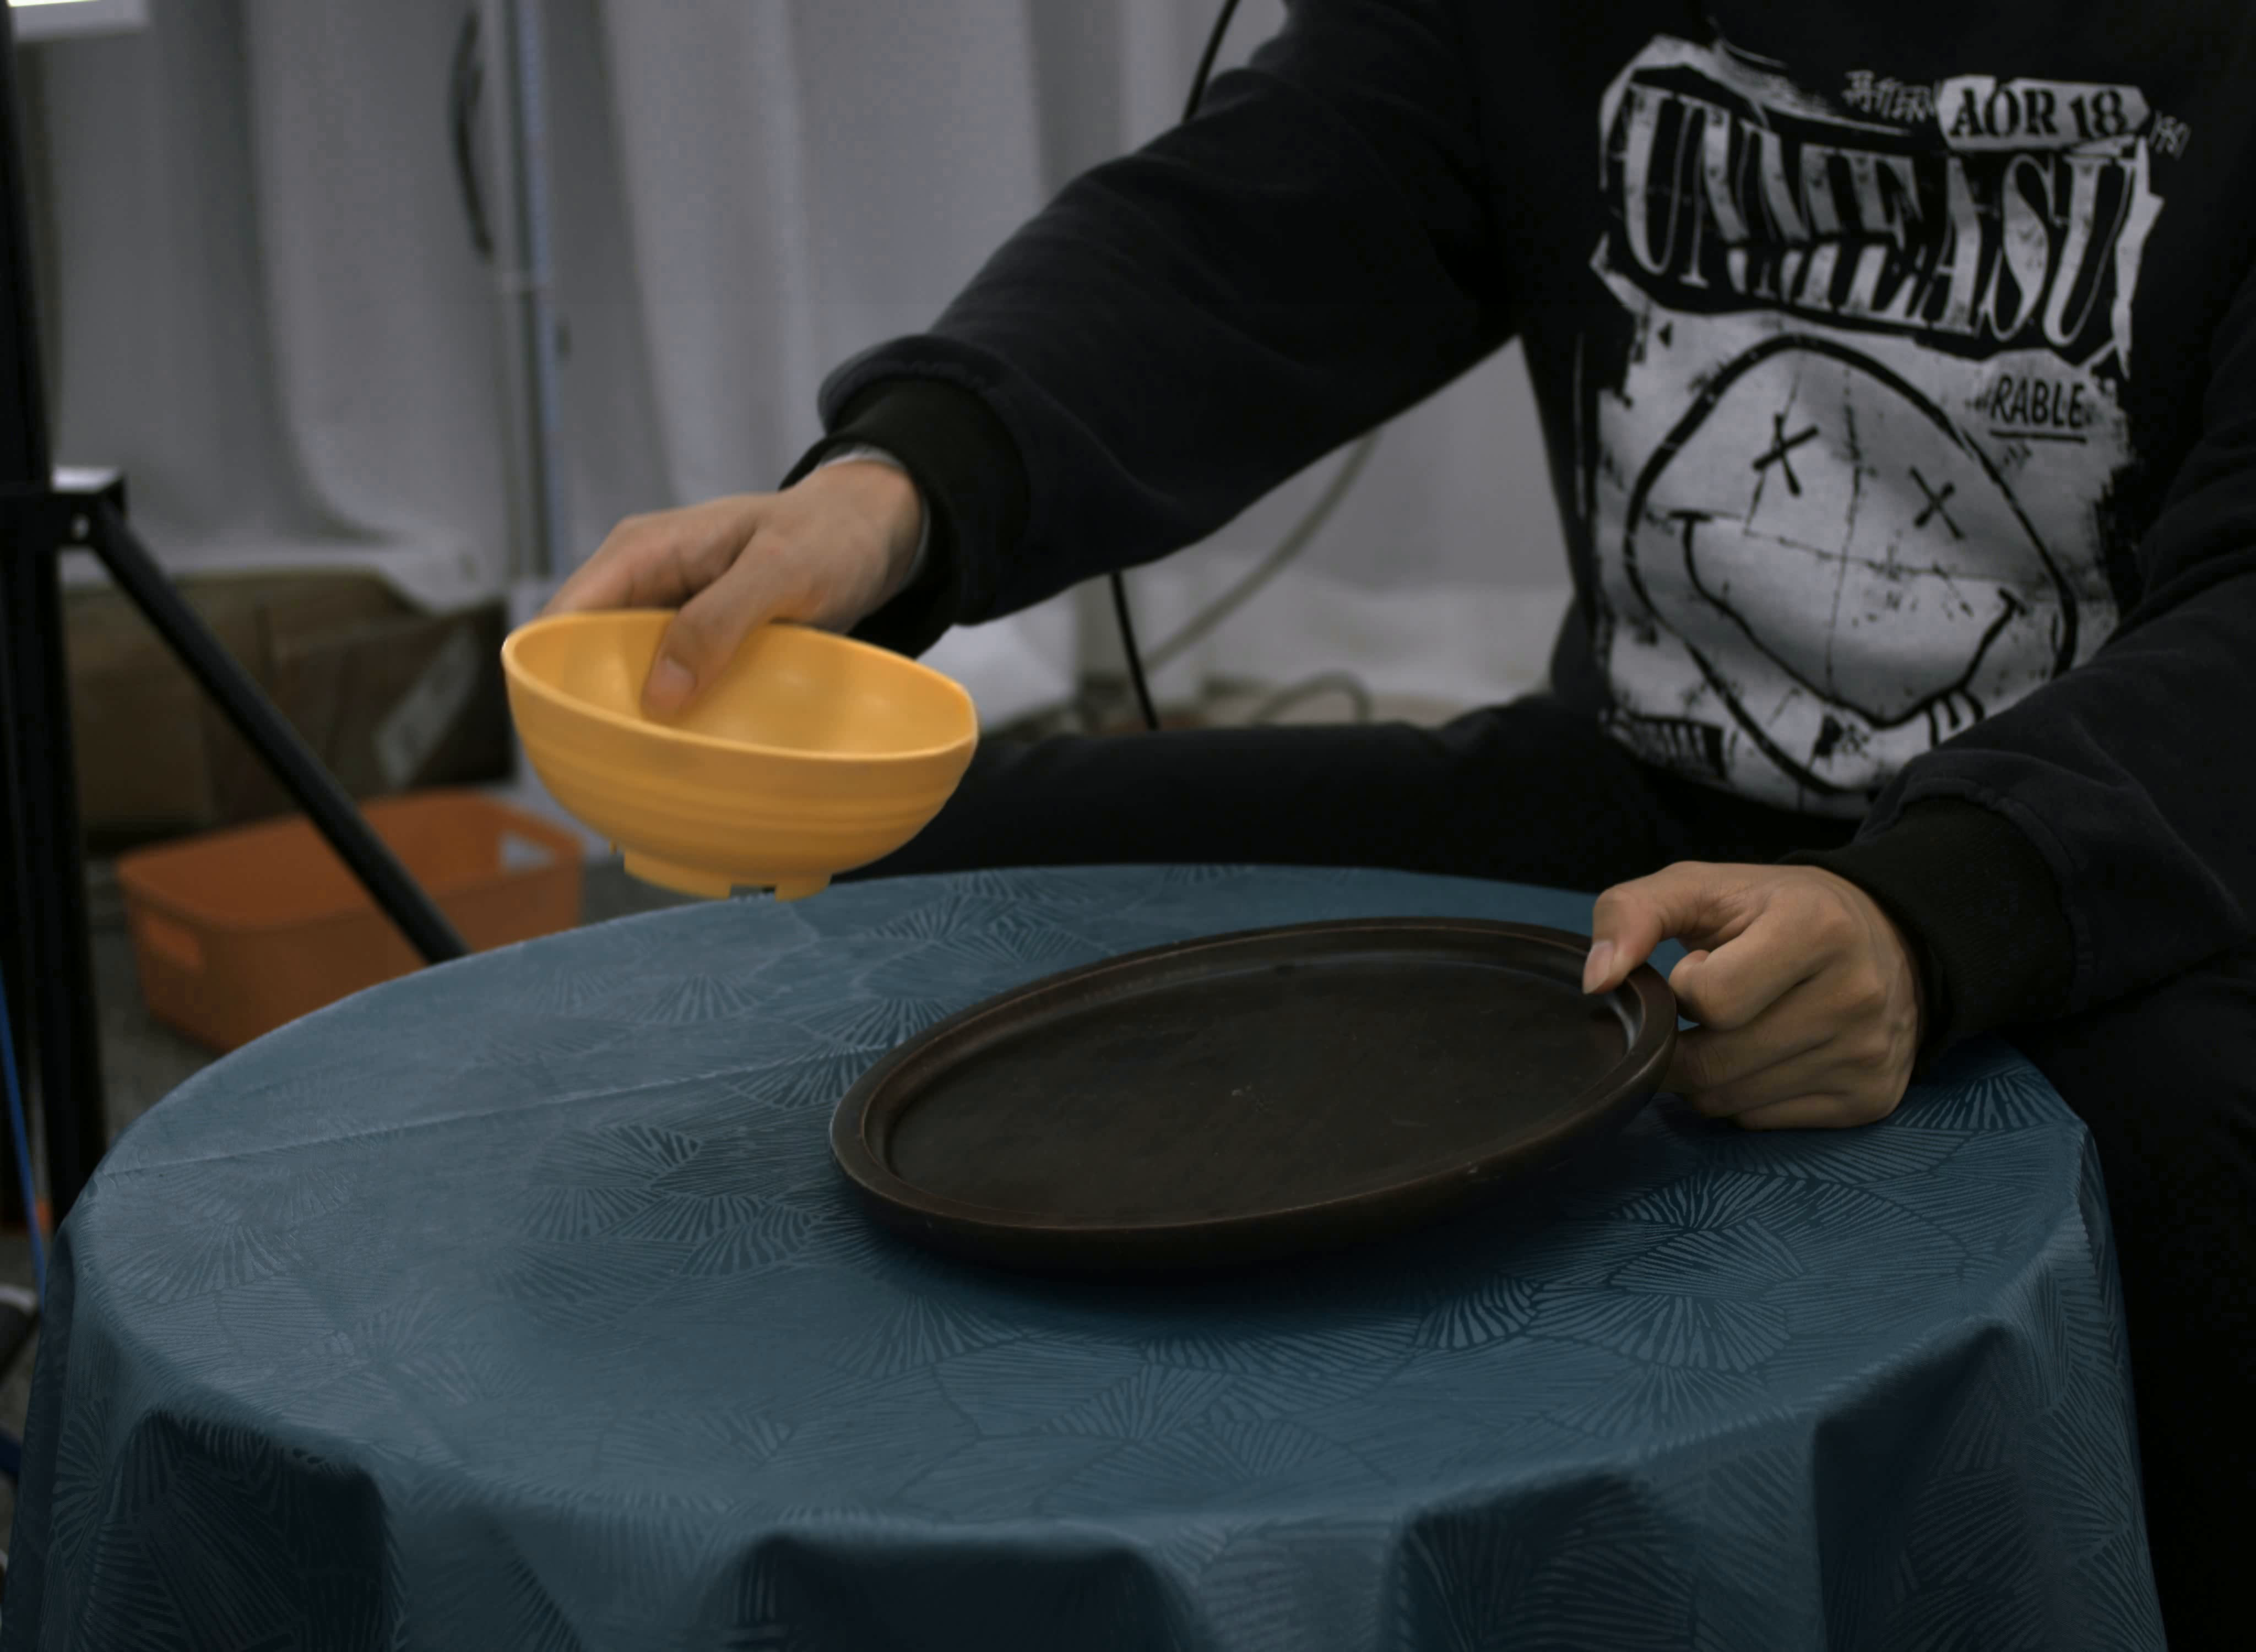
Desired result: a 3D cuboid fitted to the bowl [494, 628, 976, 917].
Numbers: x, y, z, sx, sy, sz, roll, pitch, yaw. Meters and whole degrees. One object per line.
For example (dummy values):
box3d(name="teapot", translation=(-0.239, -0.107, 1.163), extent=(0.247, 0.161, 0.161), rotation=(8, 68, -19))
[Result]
box3d(name="bowl", translation=(-0.120, -0.011, 1.579), extent=(0.144, 0.060, 0.146), rotation=(9, 13, -4))

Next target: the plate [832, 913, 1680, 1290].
box3d(name="plate", translation=(0.038, 0.079, 1.563), extent=(0.254, 0.029, 0.256), rotation=(-11, 15, 2))
